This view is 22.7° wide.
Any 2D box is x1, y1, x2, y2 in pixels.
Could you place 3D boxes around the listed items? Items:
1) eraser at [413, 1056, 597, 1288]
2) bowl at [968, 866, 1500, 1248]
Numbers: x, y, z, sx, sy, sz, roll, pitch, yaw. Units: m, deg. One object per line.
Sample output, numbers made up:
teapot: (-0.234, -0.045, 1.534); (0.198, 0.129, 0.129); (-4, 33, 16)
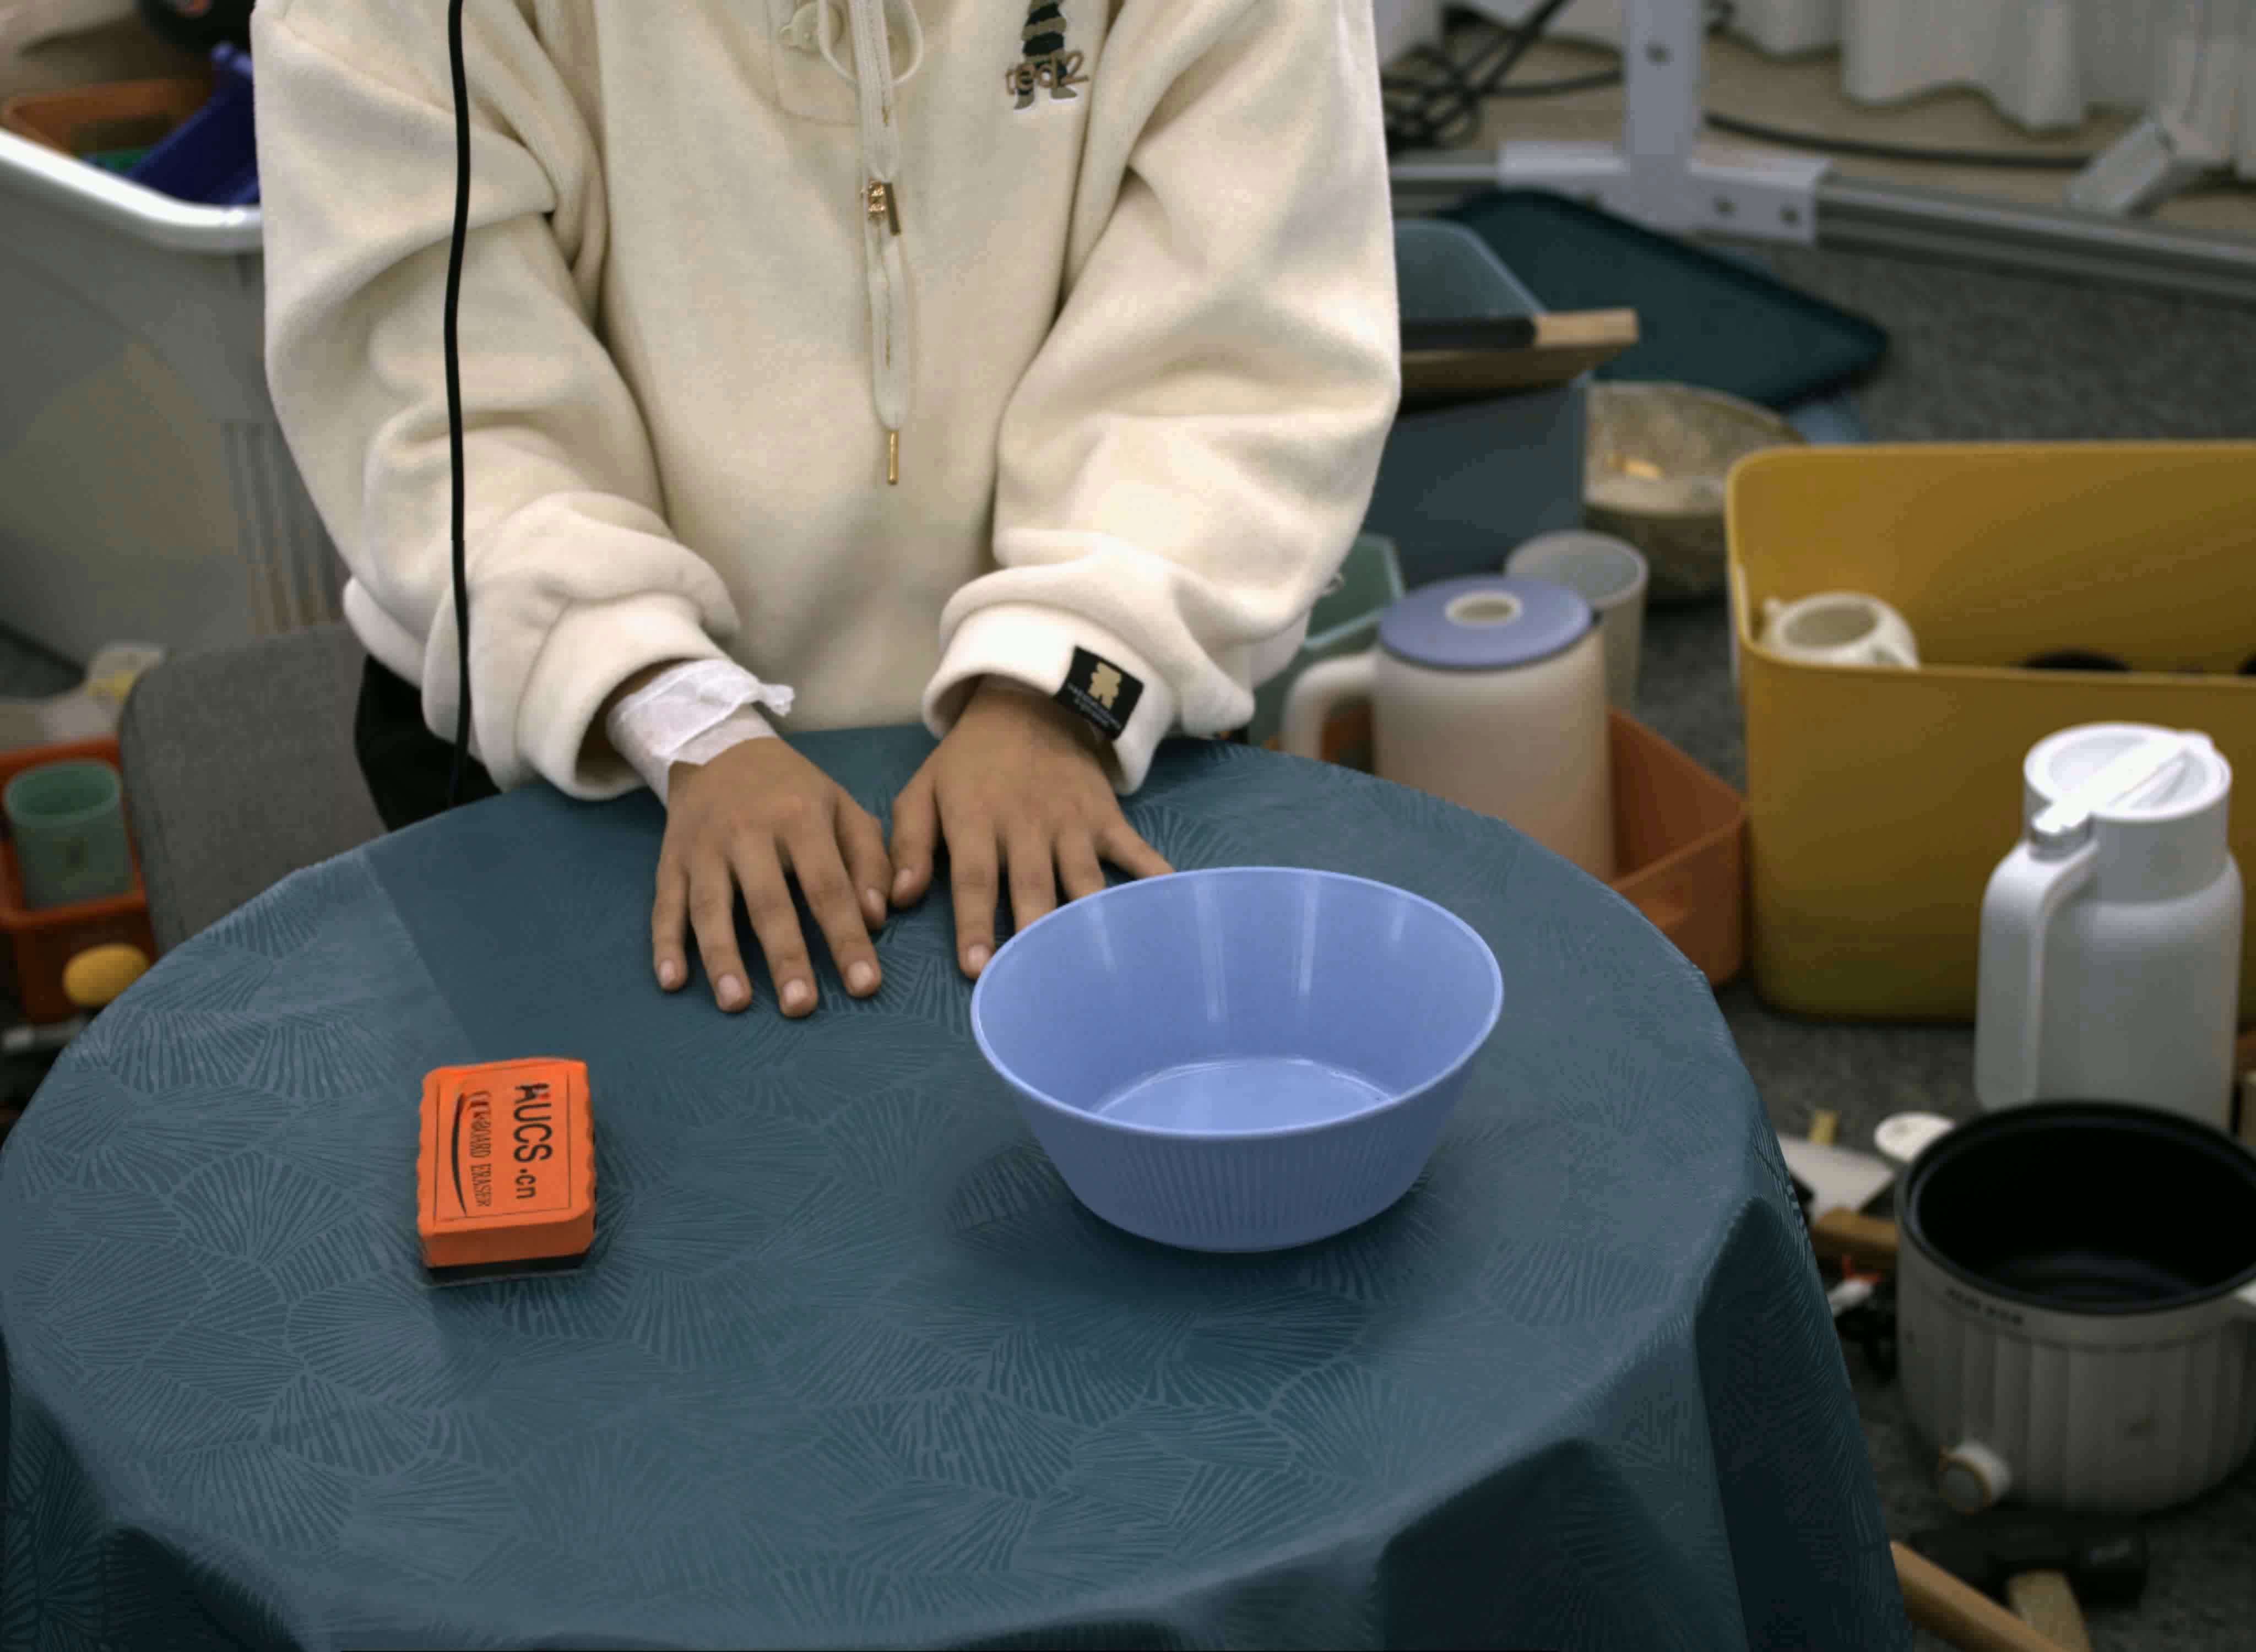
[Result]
eraser: (-0.207, 0.115, 1.870); (0.059, 0.022, 0.109); (-6, 27, -2)
bowl: (0.036, 0.082, 1.857); (0.175, 0.069, 0.179); (-2, 27, 2)
